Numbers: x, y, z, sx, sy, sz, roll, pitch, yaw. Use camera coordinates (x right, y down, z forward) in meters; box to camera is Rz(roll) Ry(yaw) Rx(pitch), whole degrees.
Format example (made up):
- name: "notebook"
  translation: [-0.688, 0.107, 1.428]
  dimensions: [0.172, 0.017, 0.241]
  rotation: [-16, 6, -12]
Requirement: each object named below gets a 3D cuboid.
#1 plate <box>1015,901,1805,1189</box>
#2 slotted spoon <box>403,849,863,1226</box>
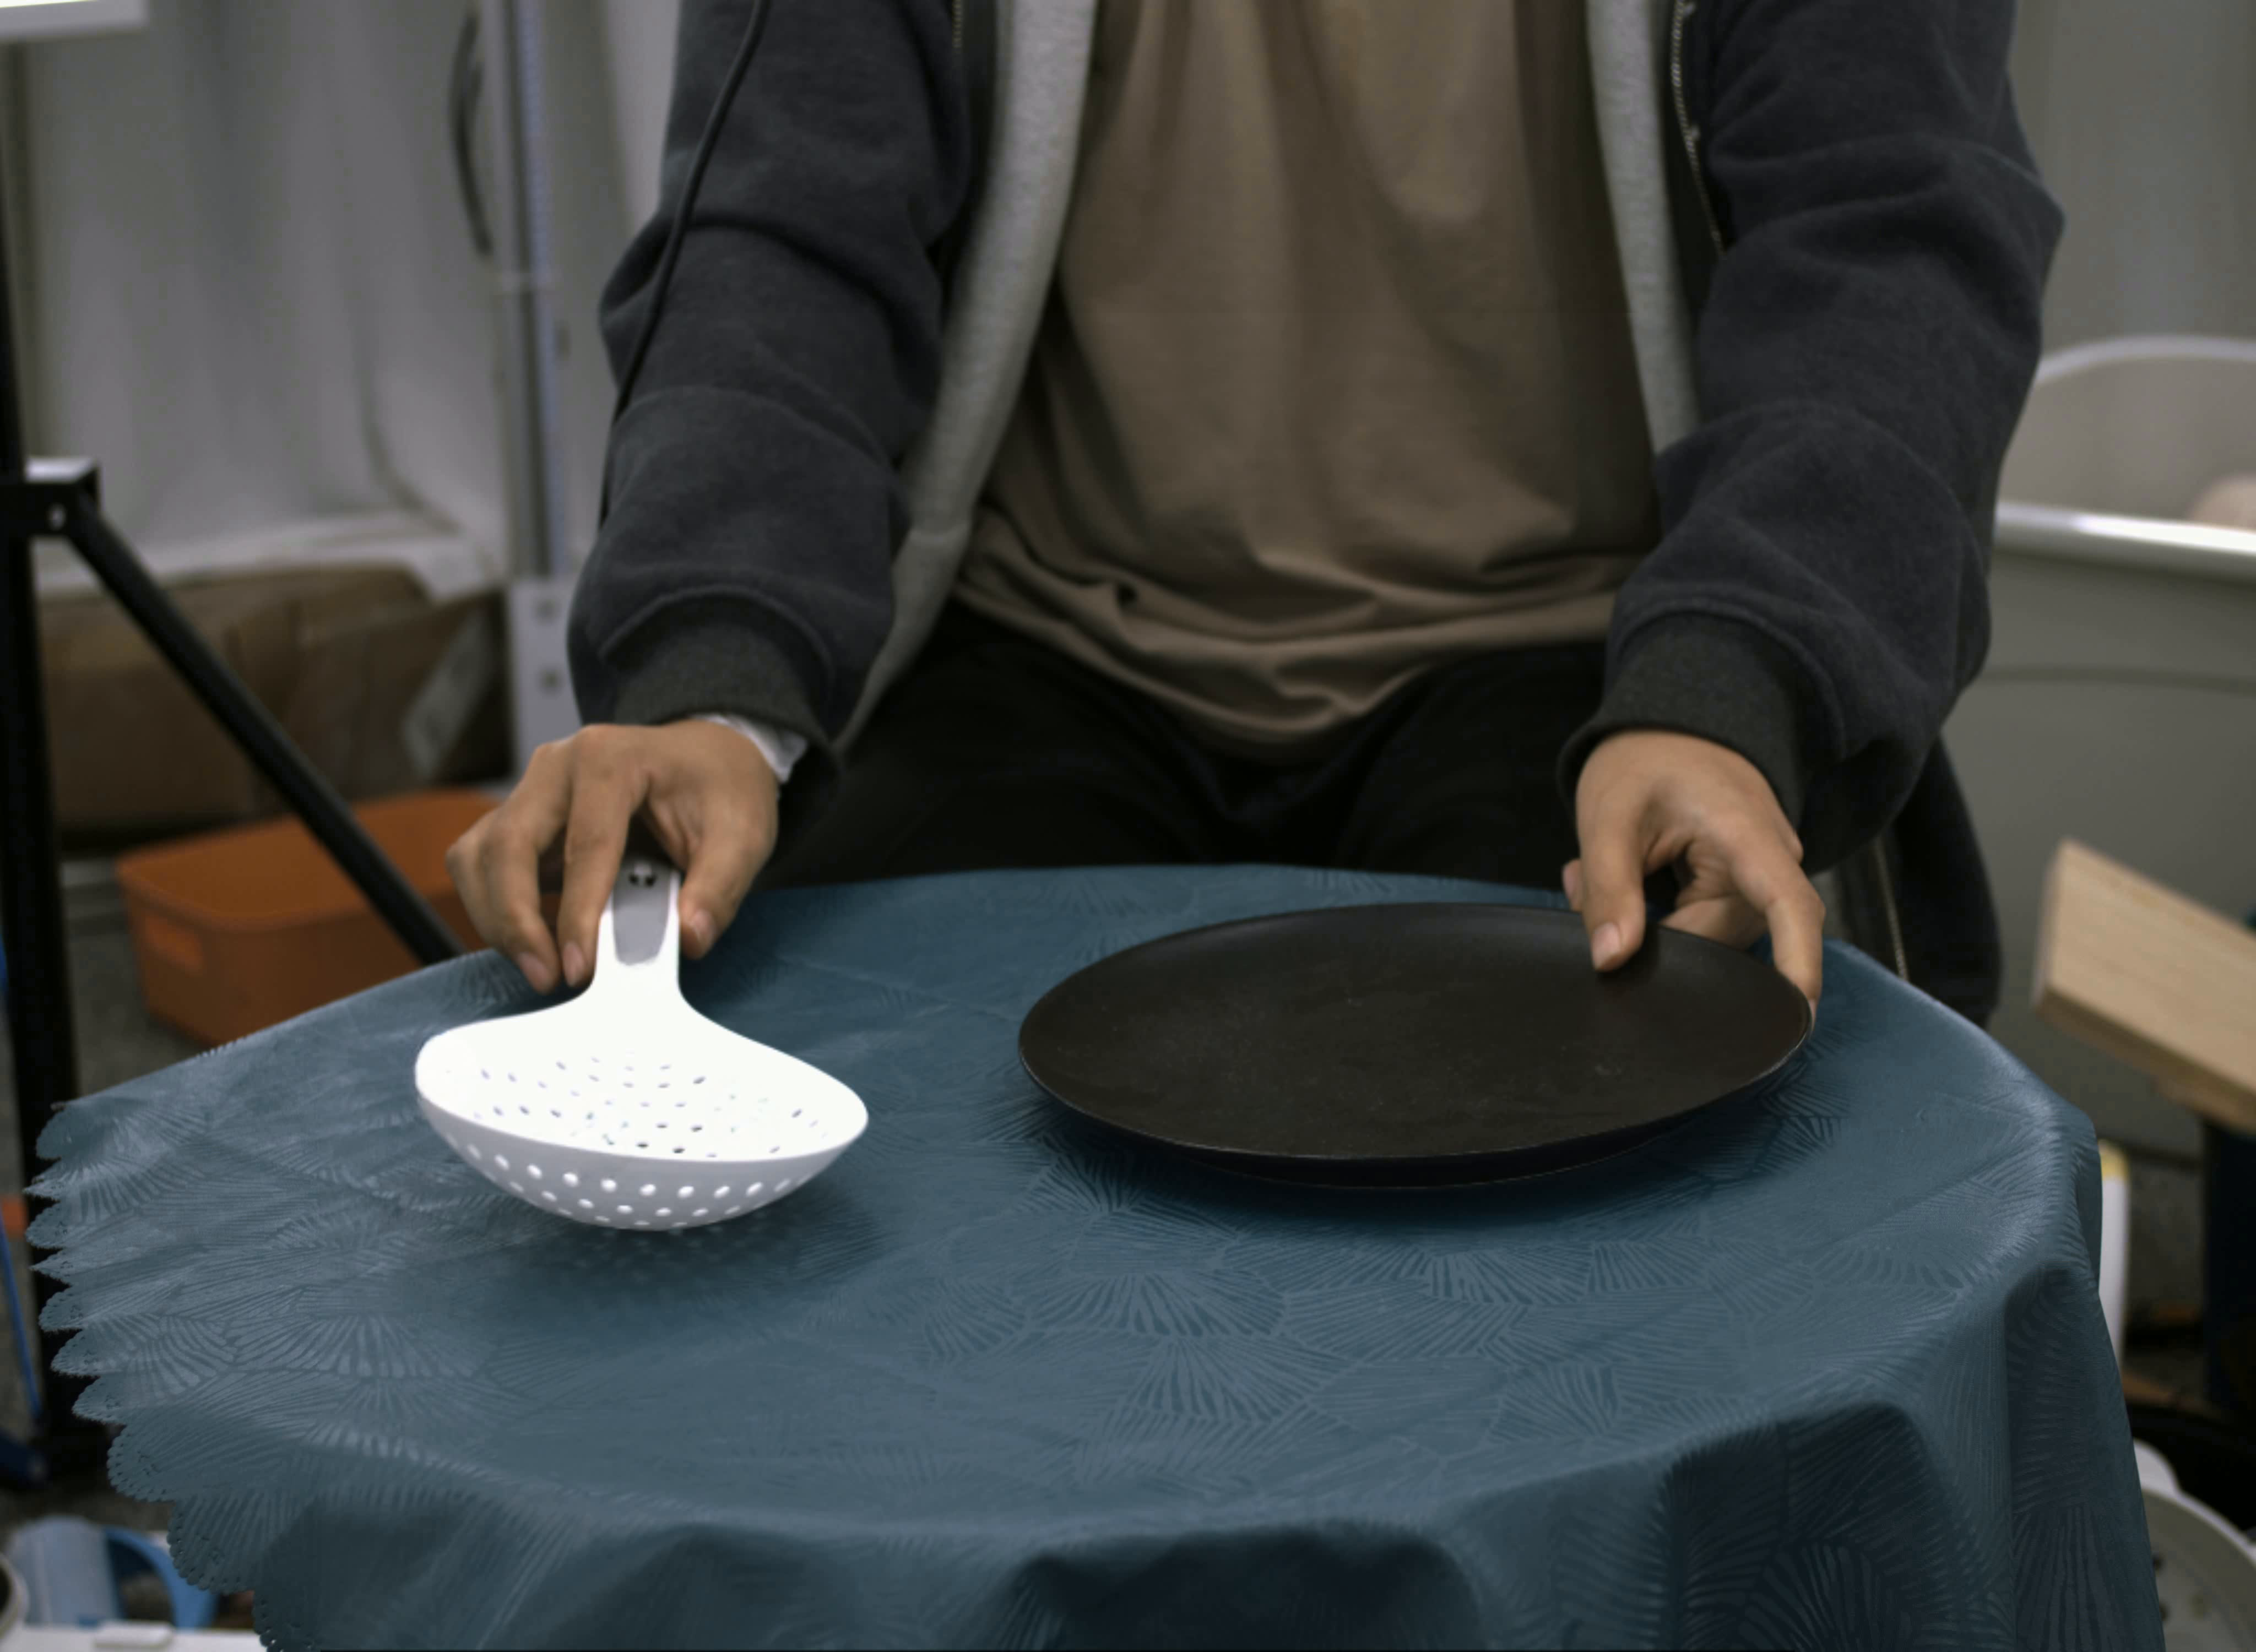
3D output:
- name: "plate"
  translation: [0.086, 0.070, 1.632]
  dimensions: [0.243, 0.023, 0.246]
  rotation: [-4, 17, 0]
- name: "slotted spoon"
  translation: [-0.154, 0.057, 1.657]
  dimensions: [0.135, 0.046, 0.352]
  rotation: [9, 17, -7]
